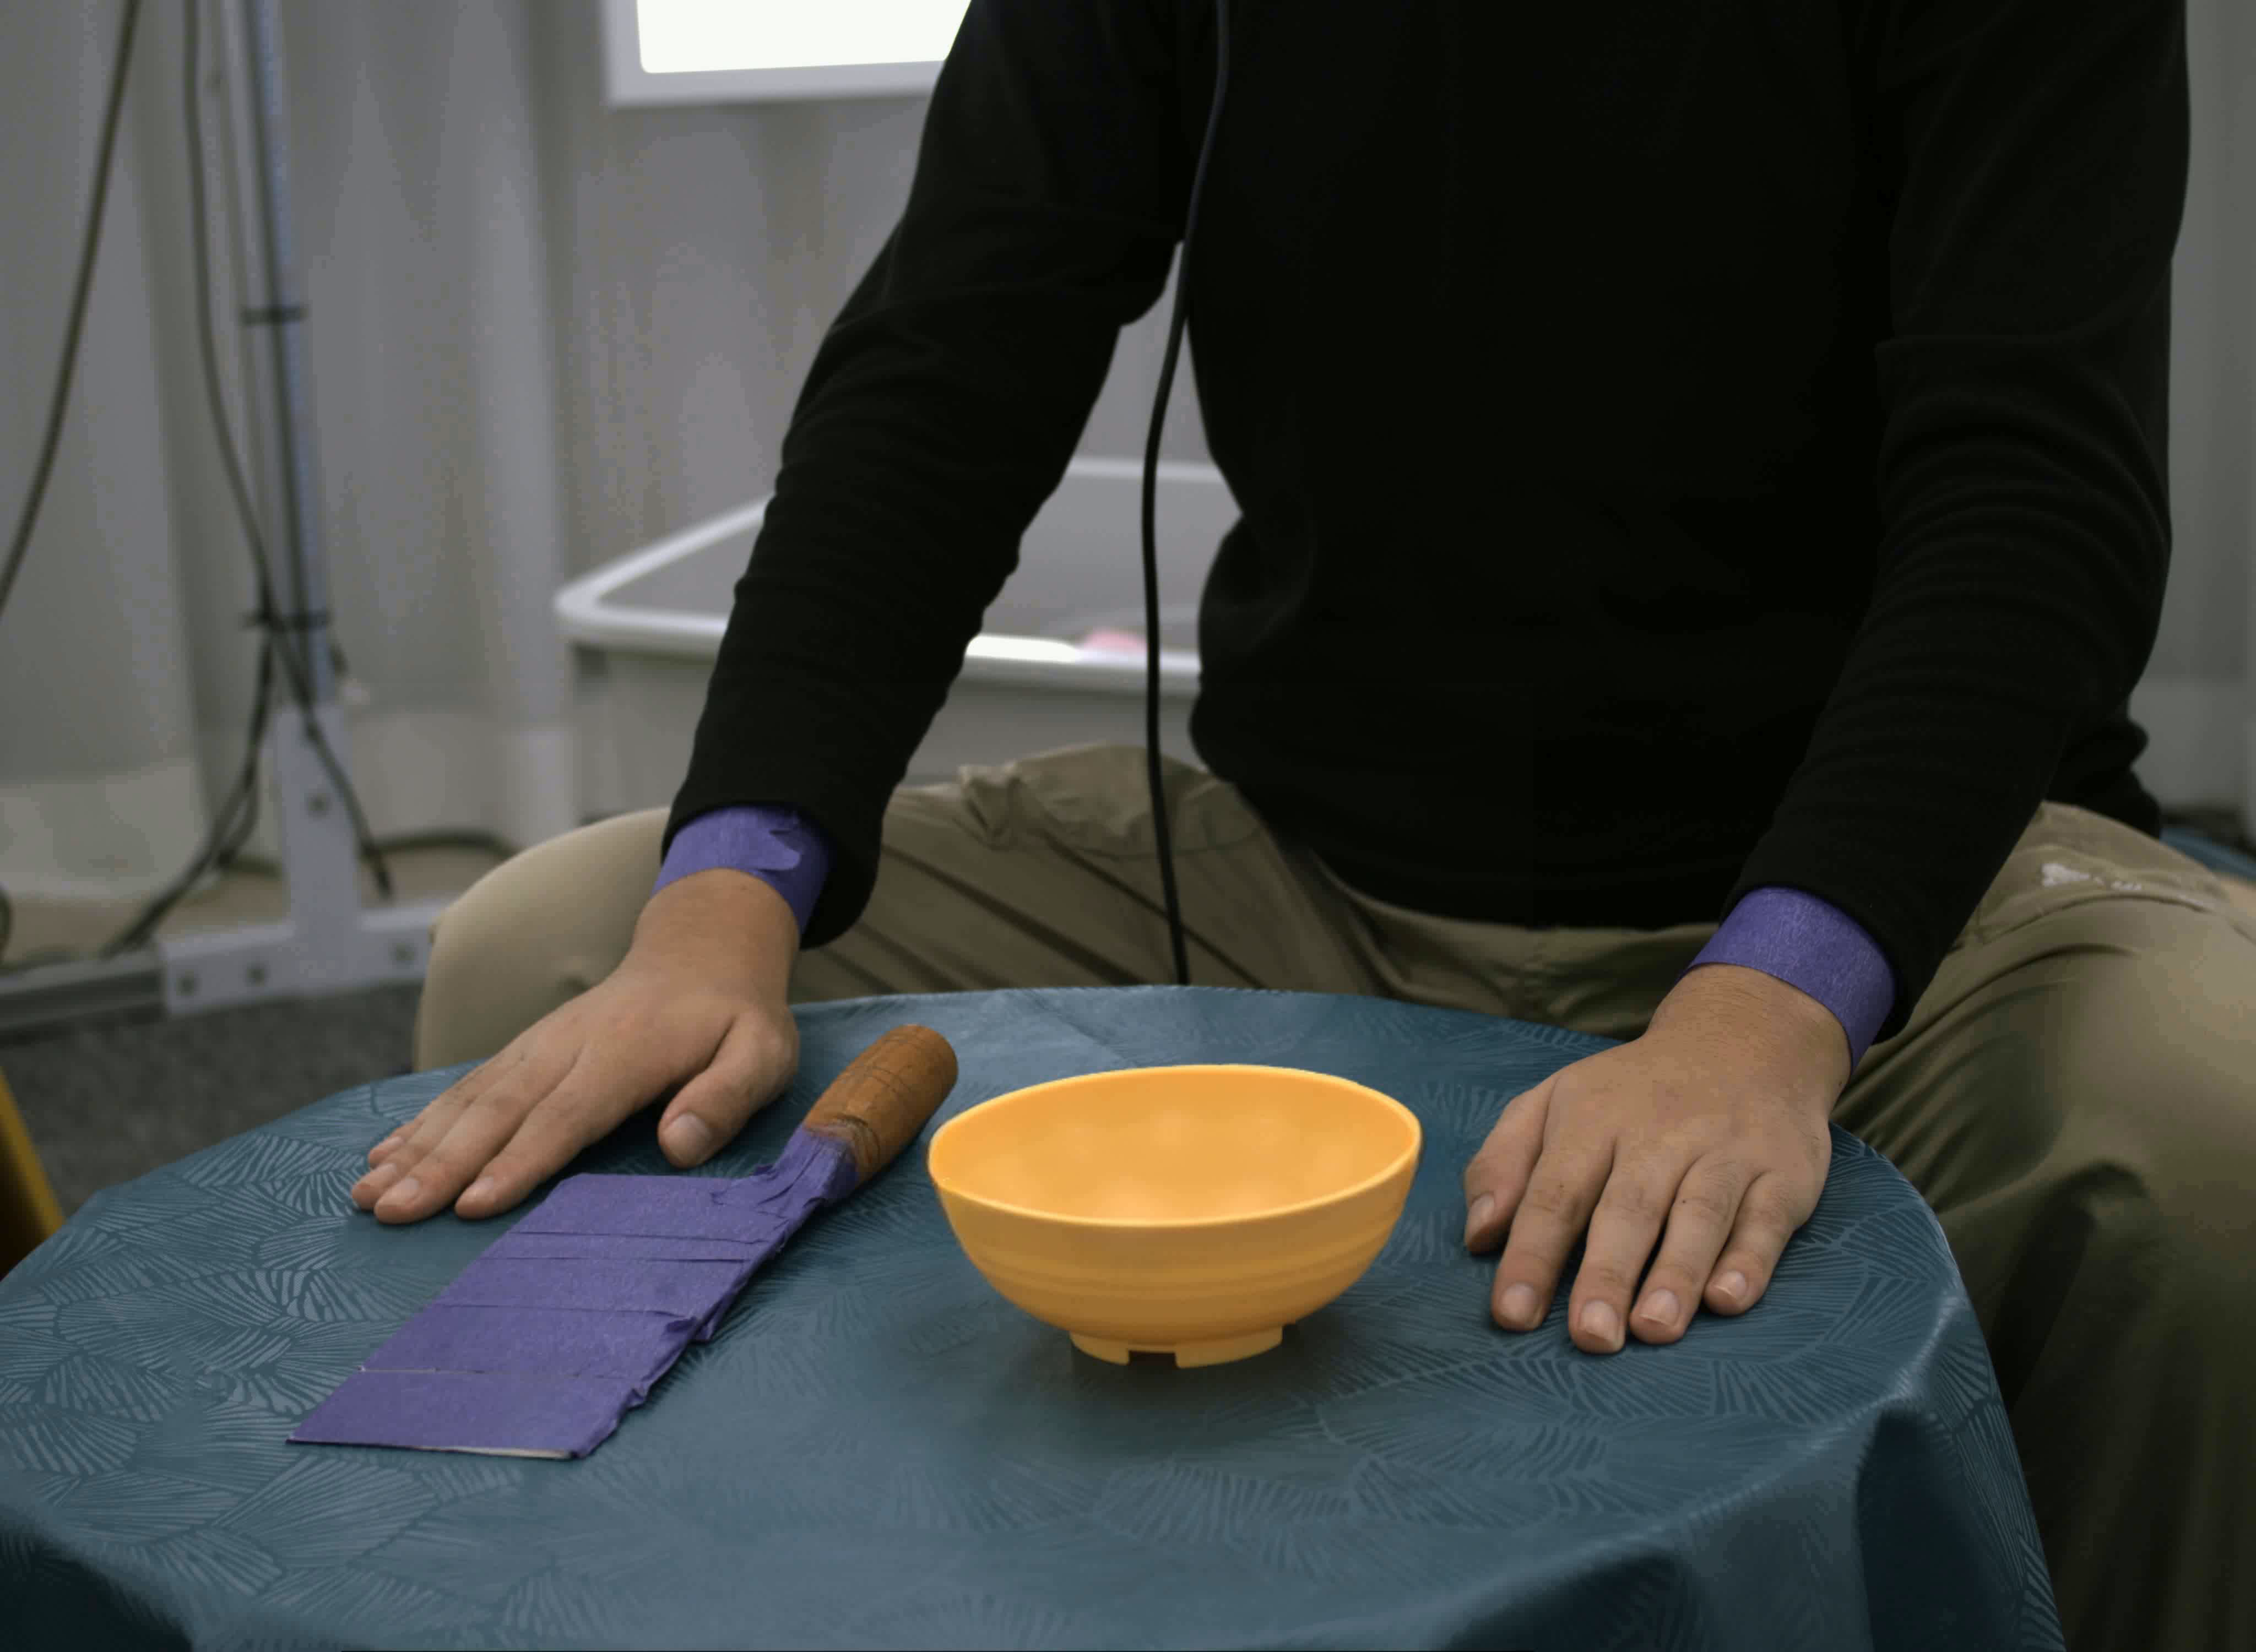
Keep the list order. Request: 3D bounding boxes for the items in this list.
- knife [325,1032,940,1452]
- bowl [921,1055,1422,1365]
[{"bbox_3d":[-0.147,0.123,1.661,0.104,0.032,0.316,2,16,17],"label":"knife"},{"bbox_3d":[0.013,0.117,1.585,0.145,0.060,0.146,-1,16,0],"label":"bowl"}]
